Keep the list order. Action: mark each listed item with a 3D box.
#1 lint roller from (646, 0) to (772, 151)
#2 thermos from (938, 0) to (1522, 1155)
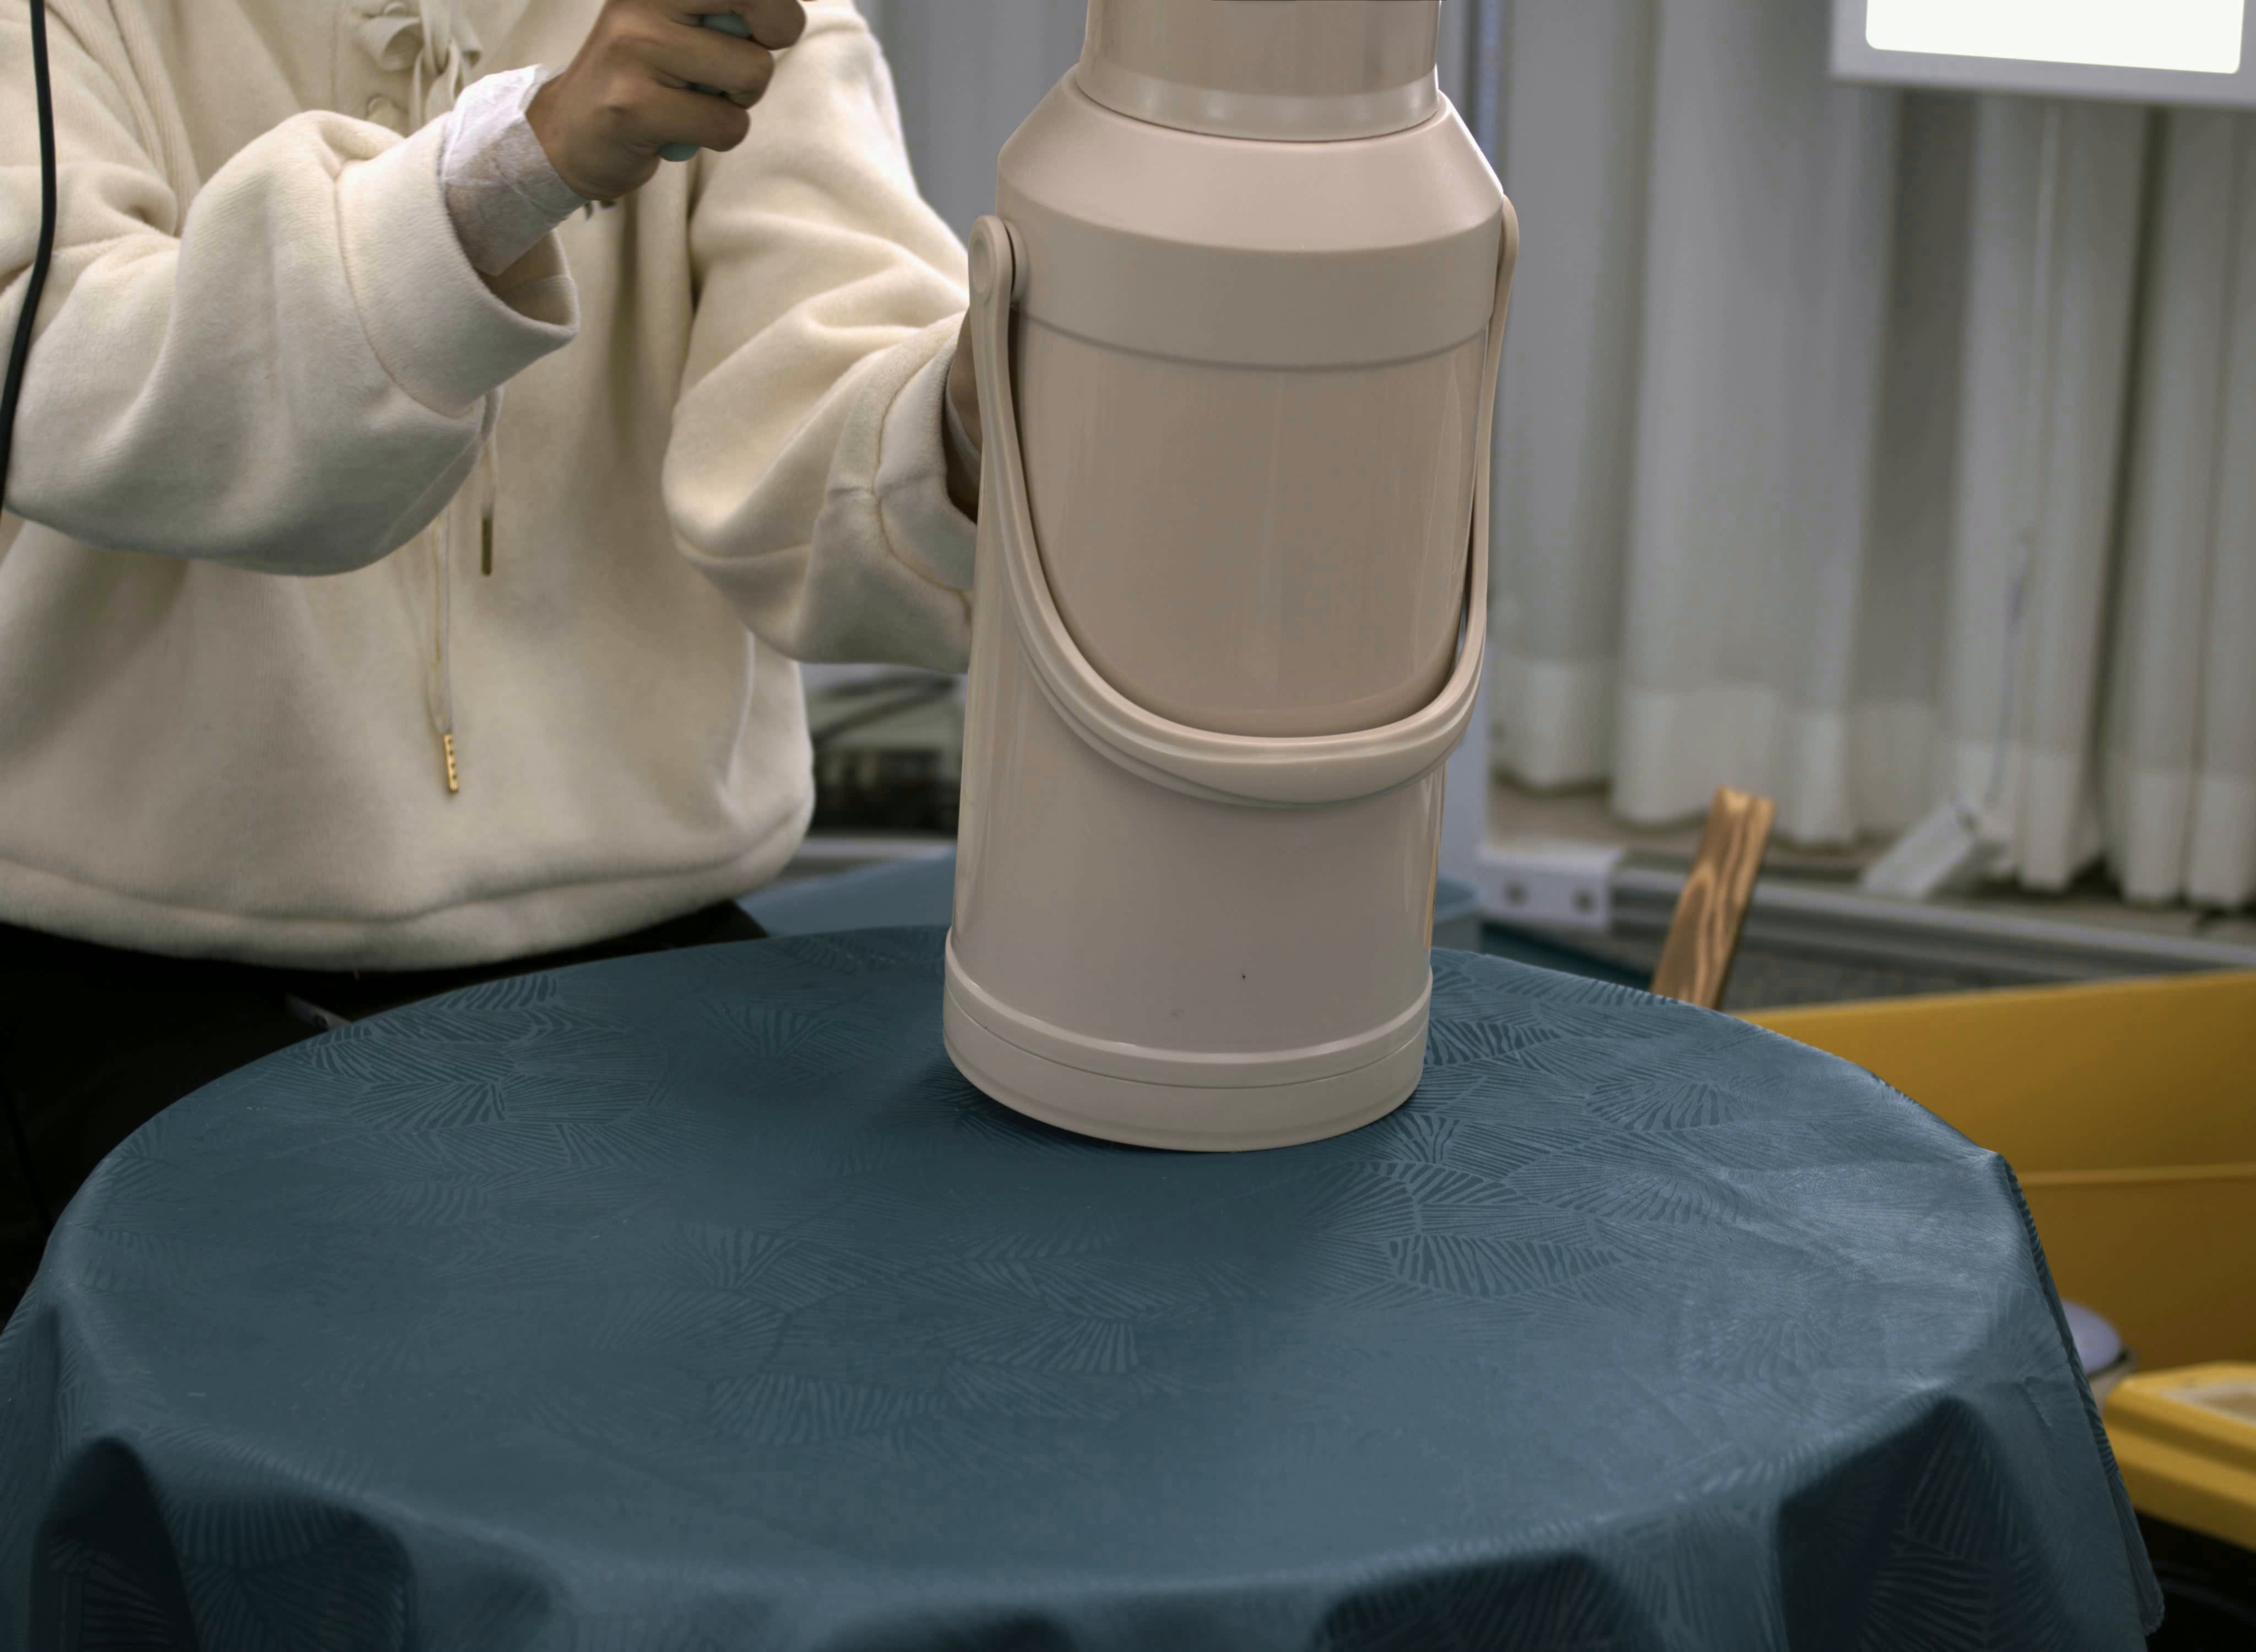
[{"bbox_3d":[-0.084,-0.283,1.607,0.197,0.049,0.116,-37,13,22],"label":"lint roller"},{"bbox_3d":[0.027,-0.115,1.659,0.176,0.410,0.204,-6,24,-22],"label":"thermos"}]
